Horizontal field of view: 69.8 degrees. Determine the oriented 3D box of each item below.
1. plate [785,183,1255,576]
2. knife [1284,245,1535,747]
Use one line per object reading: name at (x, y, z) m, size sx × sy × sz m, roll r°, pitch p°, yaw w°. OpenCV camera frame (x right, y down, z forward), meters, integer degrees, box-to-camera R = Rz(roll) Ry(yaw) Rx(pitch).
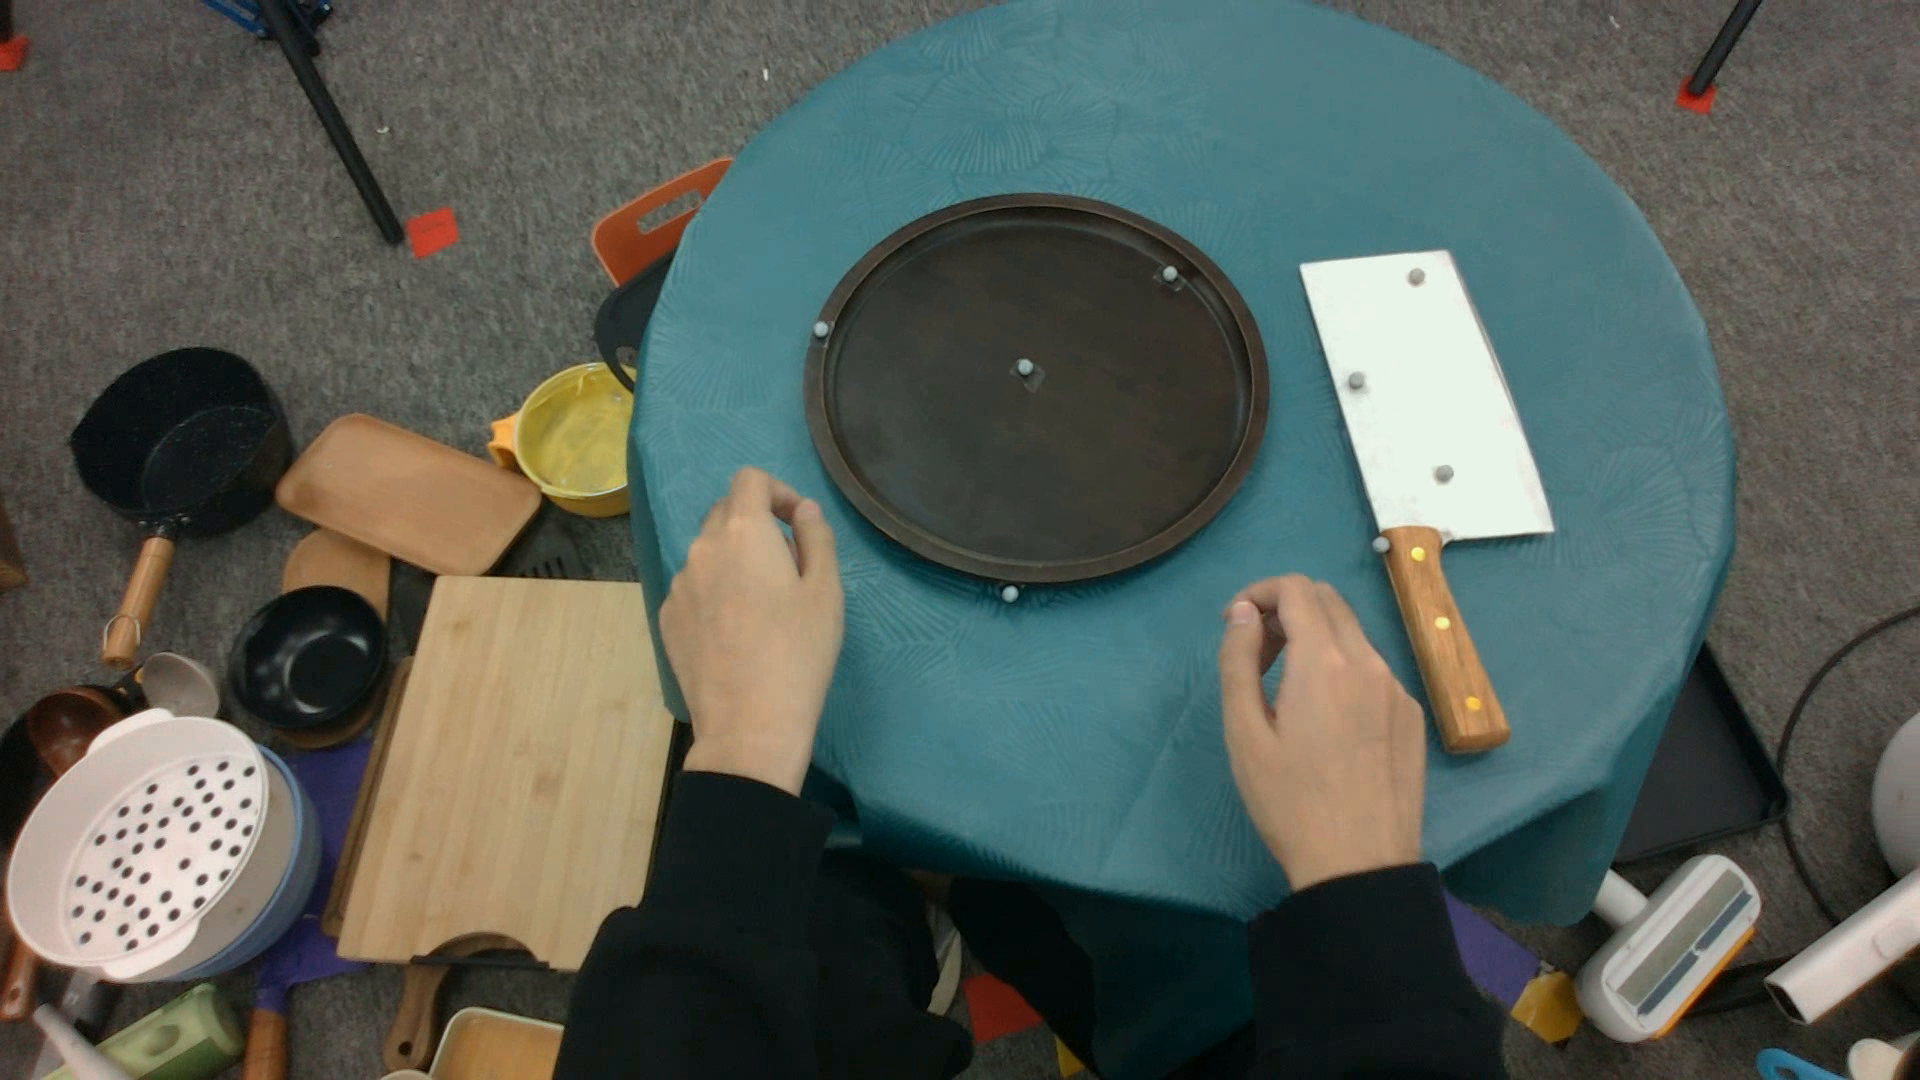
plate at (0.033, -0.093, 0.749) m, size 0.255 × 0.029 × 0.256 m, roll -1°, pitch 61°, yaw 1°
knife at (0.248, -0.038, 0.726) m, size 0.093 × 0.021 × 0.307 m, roll -5°, pitch 60°, yaw -4°
